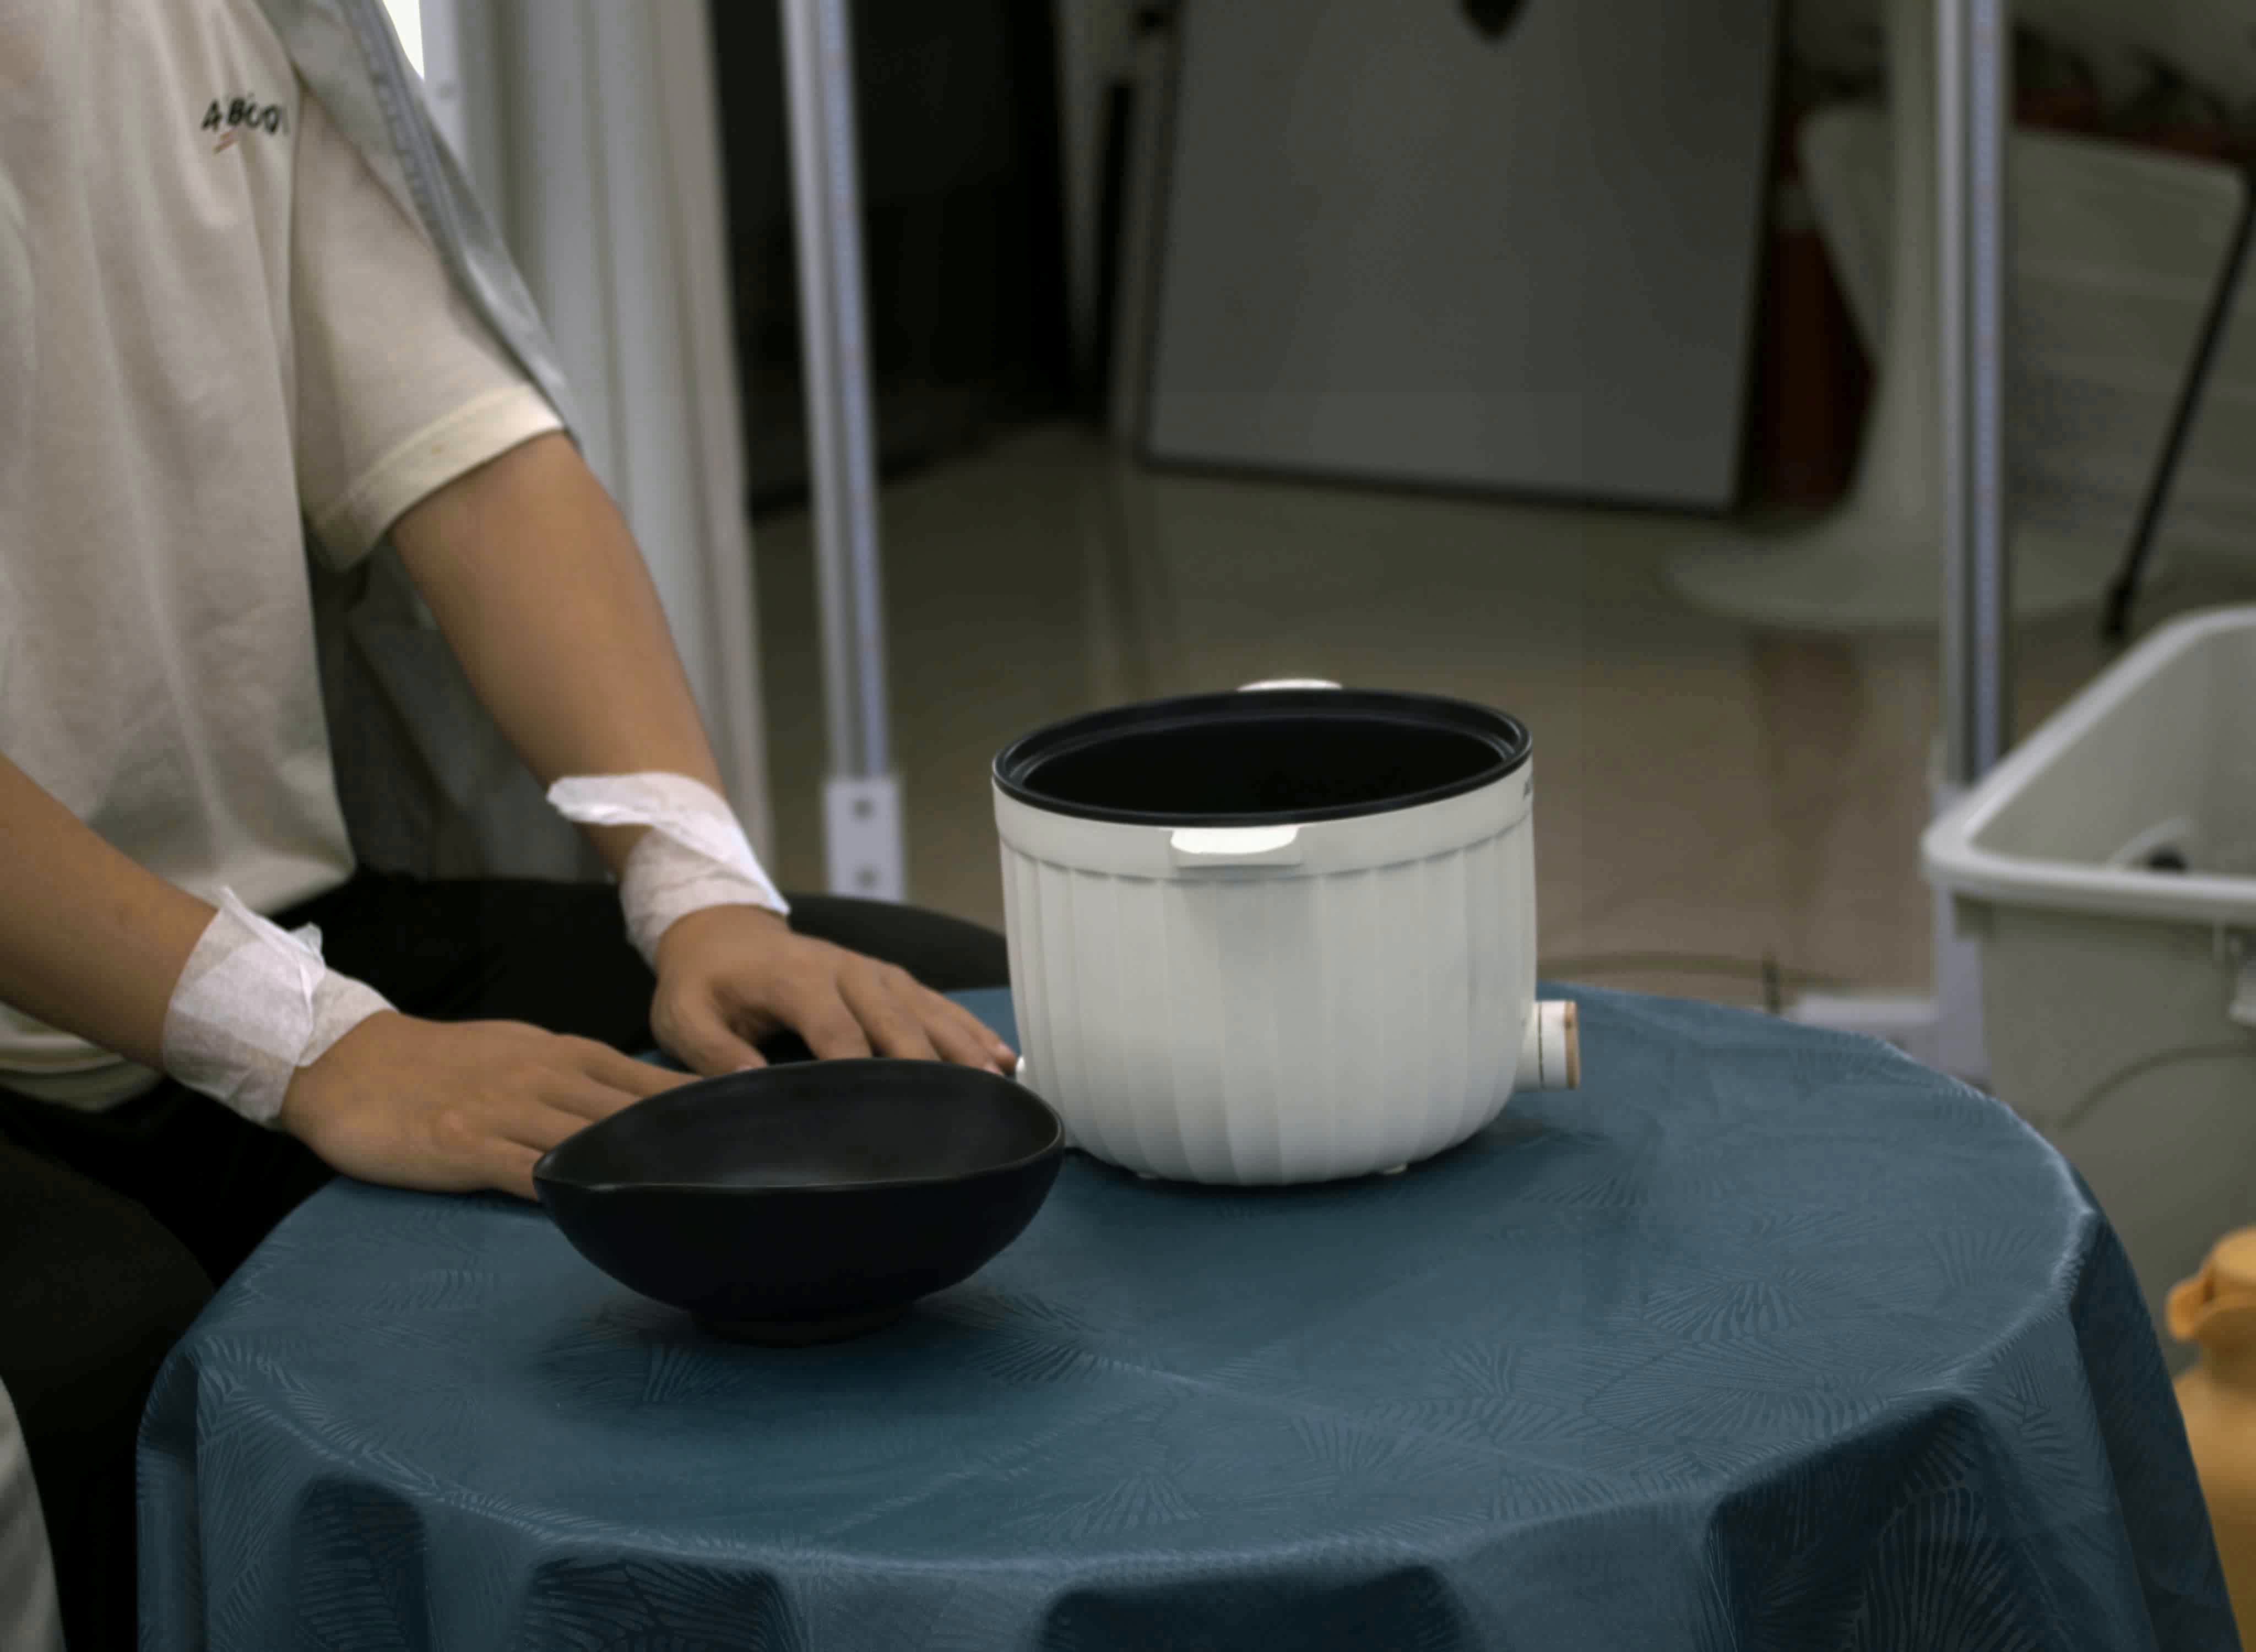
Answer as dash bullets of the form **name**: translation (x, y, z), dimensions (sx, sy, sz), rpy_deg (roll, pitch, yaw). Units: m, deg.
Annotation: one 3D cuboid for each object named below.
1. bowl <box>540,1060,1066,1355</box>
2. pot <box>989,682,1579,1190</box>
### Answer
- **bowl**: translation (-0.100, 0.122, 1.666), dimensions (0.169, 0.067, 0.136), rpy_deg (-1, 13, 15)
- **pot**: translation (0.053, 0.038, 1.806), dimensions (0.189, 0.144, 0.240), rpy_deg (-6, 14, 8)
